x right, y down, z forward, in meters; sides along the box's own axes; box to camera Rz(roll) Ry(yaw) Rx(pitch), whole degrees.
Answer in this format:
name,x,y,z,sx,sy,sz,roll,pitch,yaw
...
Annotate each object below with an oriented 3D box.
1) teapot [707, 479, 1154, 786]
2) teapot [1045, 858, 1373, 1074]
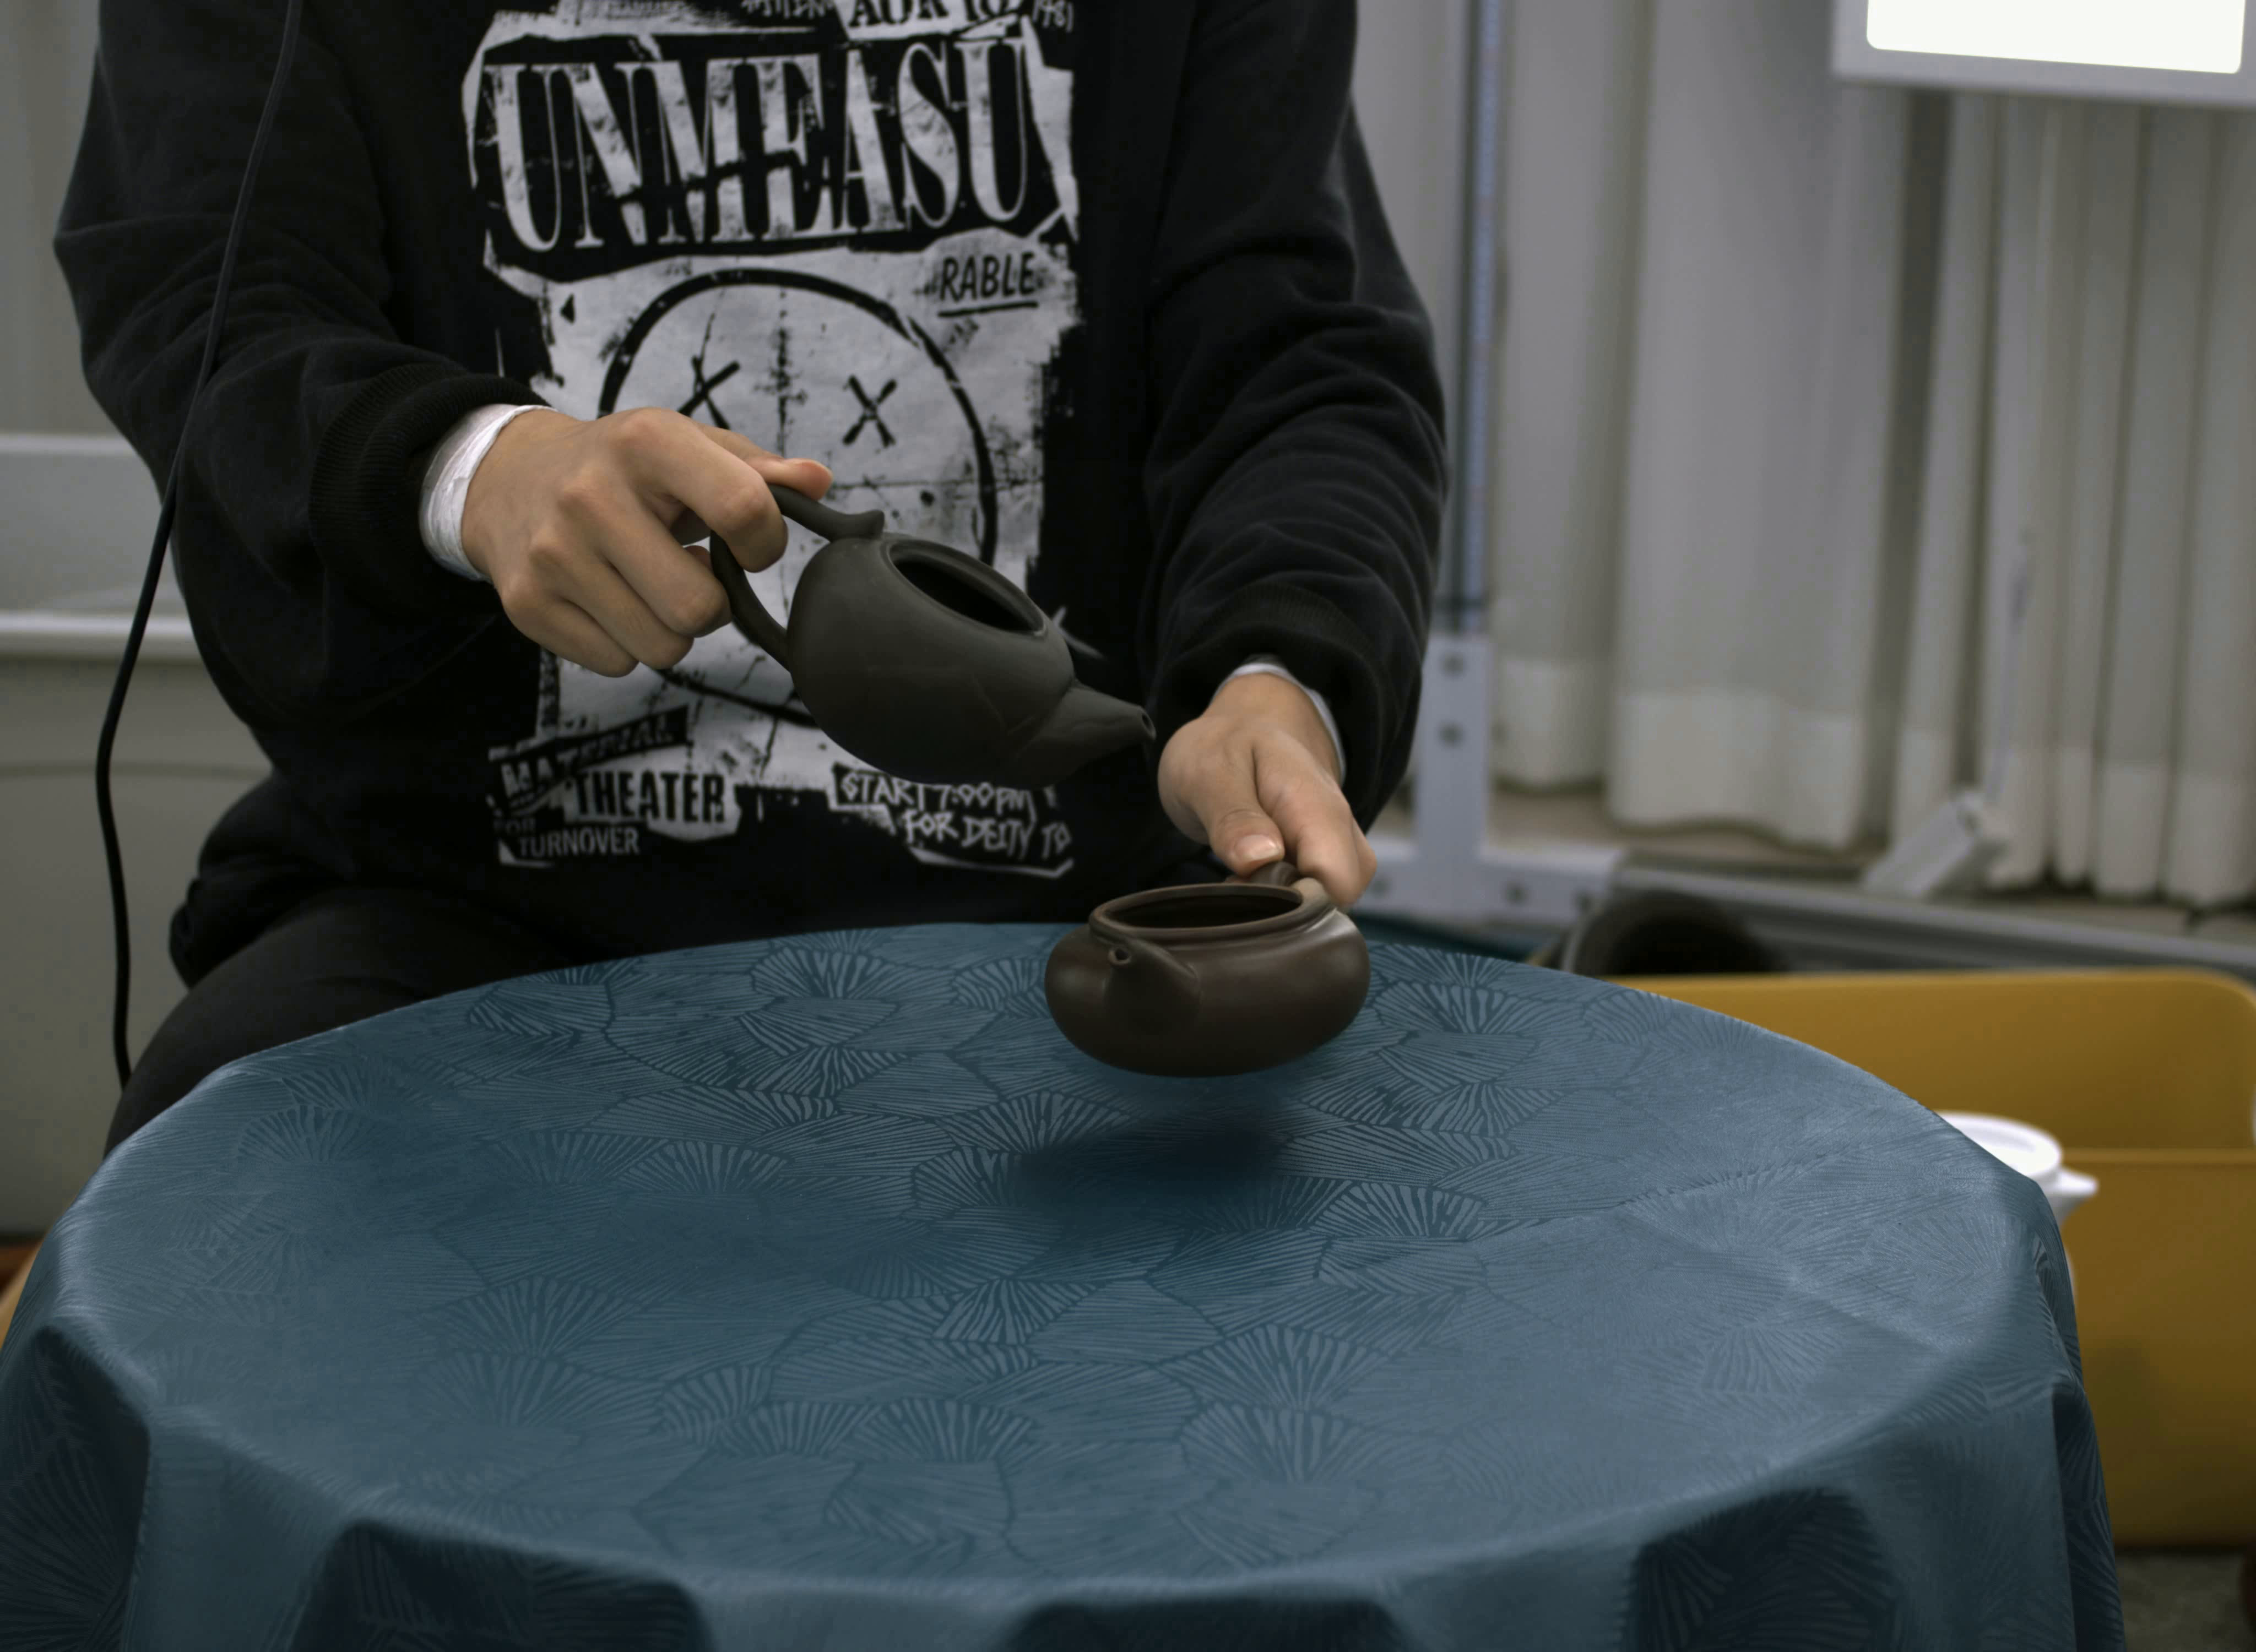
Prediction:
name,x,y,z,sx,sy,sz,roll,pitch,yaw
teapot,-0.065,-0.055,1.619,0.153,0.064,0.092,32,17,8
teapot,0.026,0.044,1.651,0.102,0.054,0.153,2,13,15
